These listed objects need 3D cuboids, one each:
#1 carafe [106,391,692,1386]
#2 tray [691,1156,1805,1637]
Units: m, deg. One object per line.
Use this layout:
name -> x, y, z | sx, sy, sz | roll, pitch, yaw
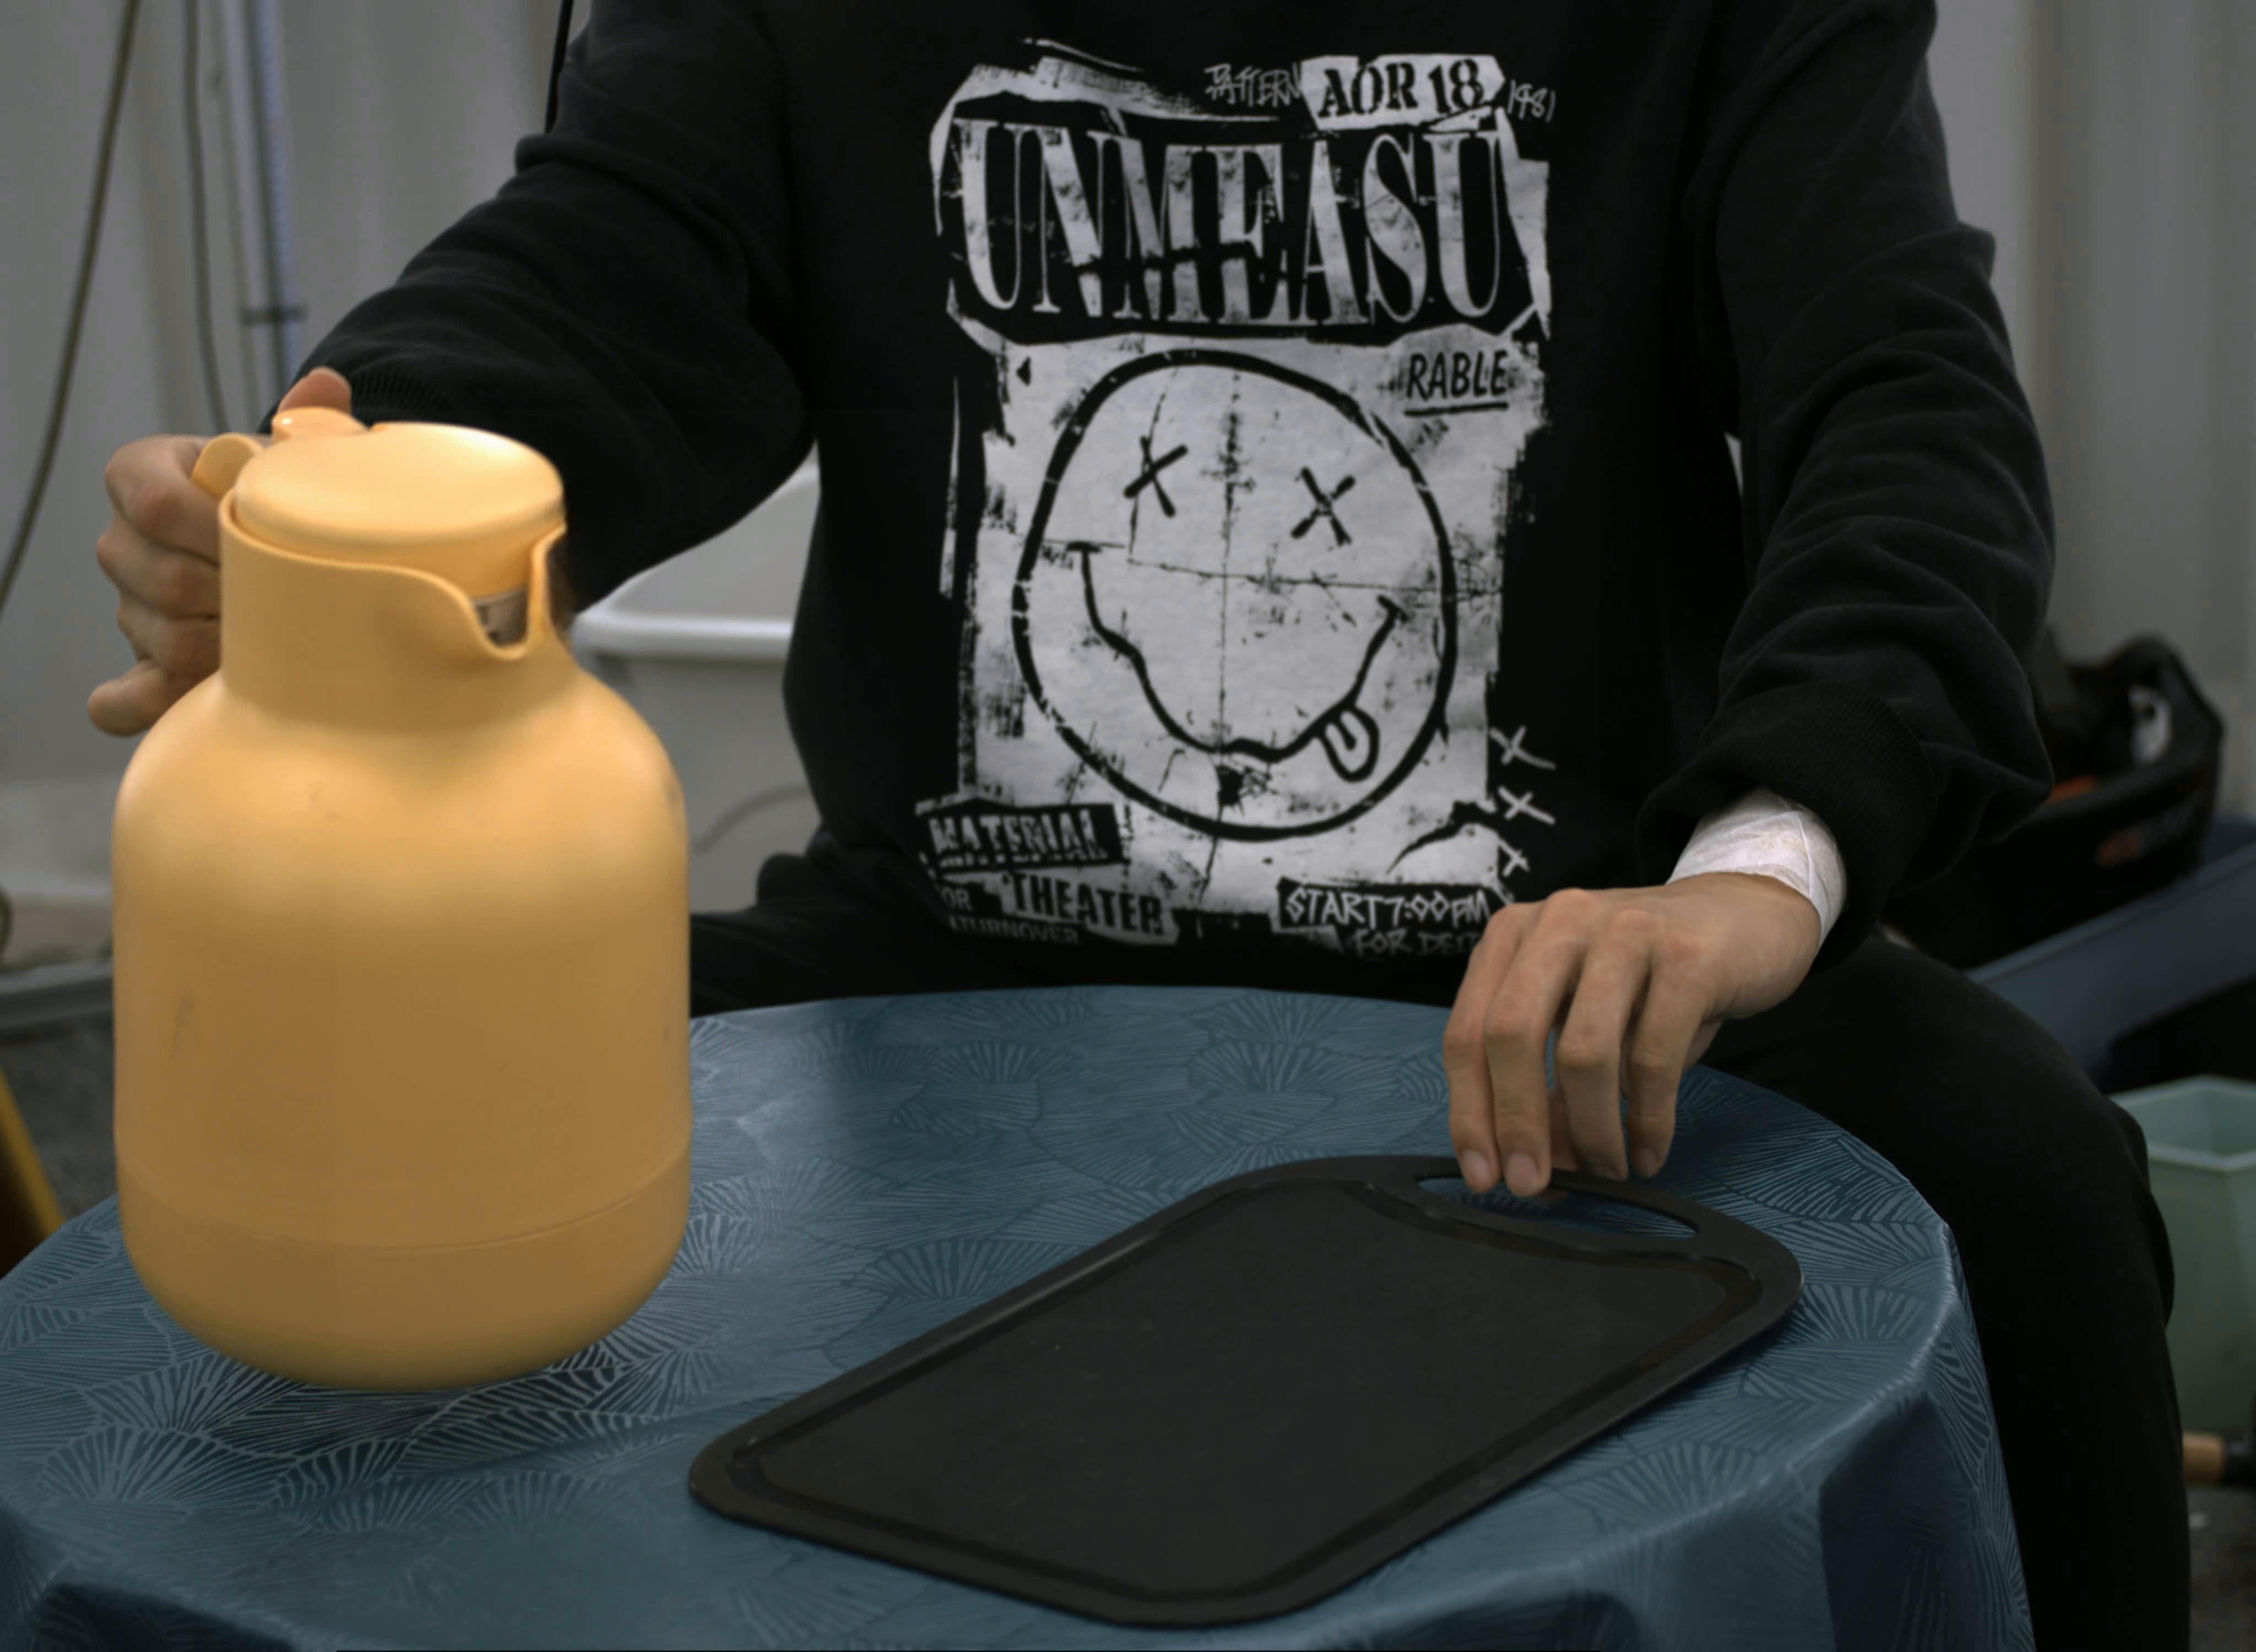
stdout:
carafe -> -0.211, 0.008, 1.546 | 0.162, 0.259, 0.204 | -8, 25, -31
tray -> 0.042, 0.150, 1.542 | 0.212, 0.010, 0.325 | 10, 21, 38
